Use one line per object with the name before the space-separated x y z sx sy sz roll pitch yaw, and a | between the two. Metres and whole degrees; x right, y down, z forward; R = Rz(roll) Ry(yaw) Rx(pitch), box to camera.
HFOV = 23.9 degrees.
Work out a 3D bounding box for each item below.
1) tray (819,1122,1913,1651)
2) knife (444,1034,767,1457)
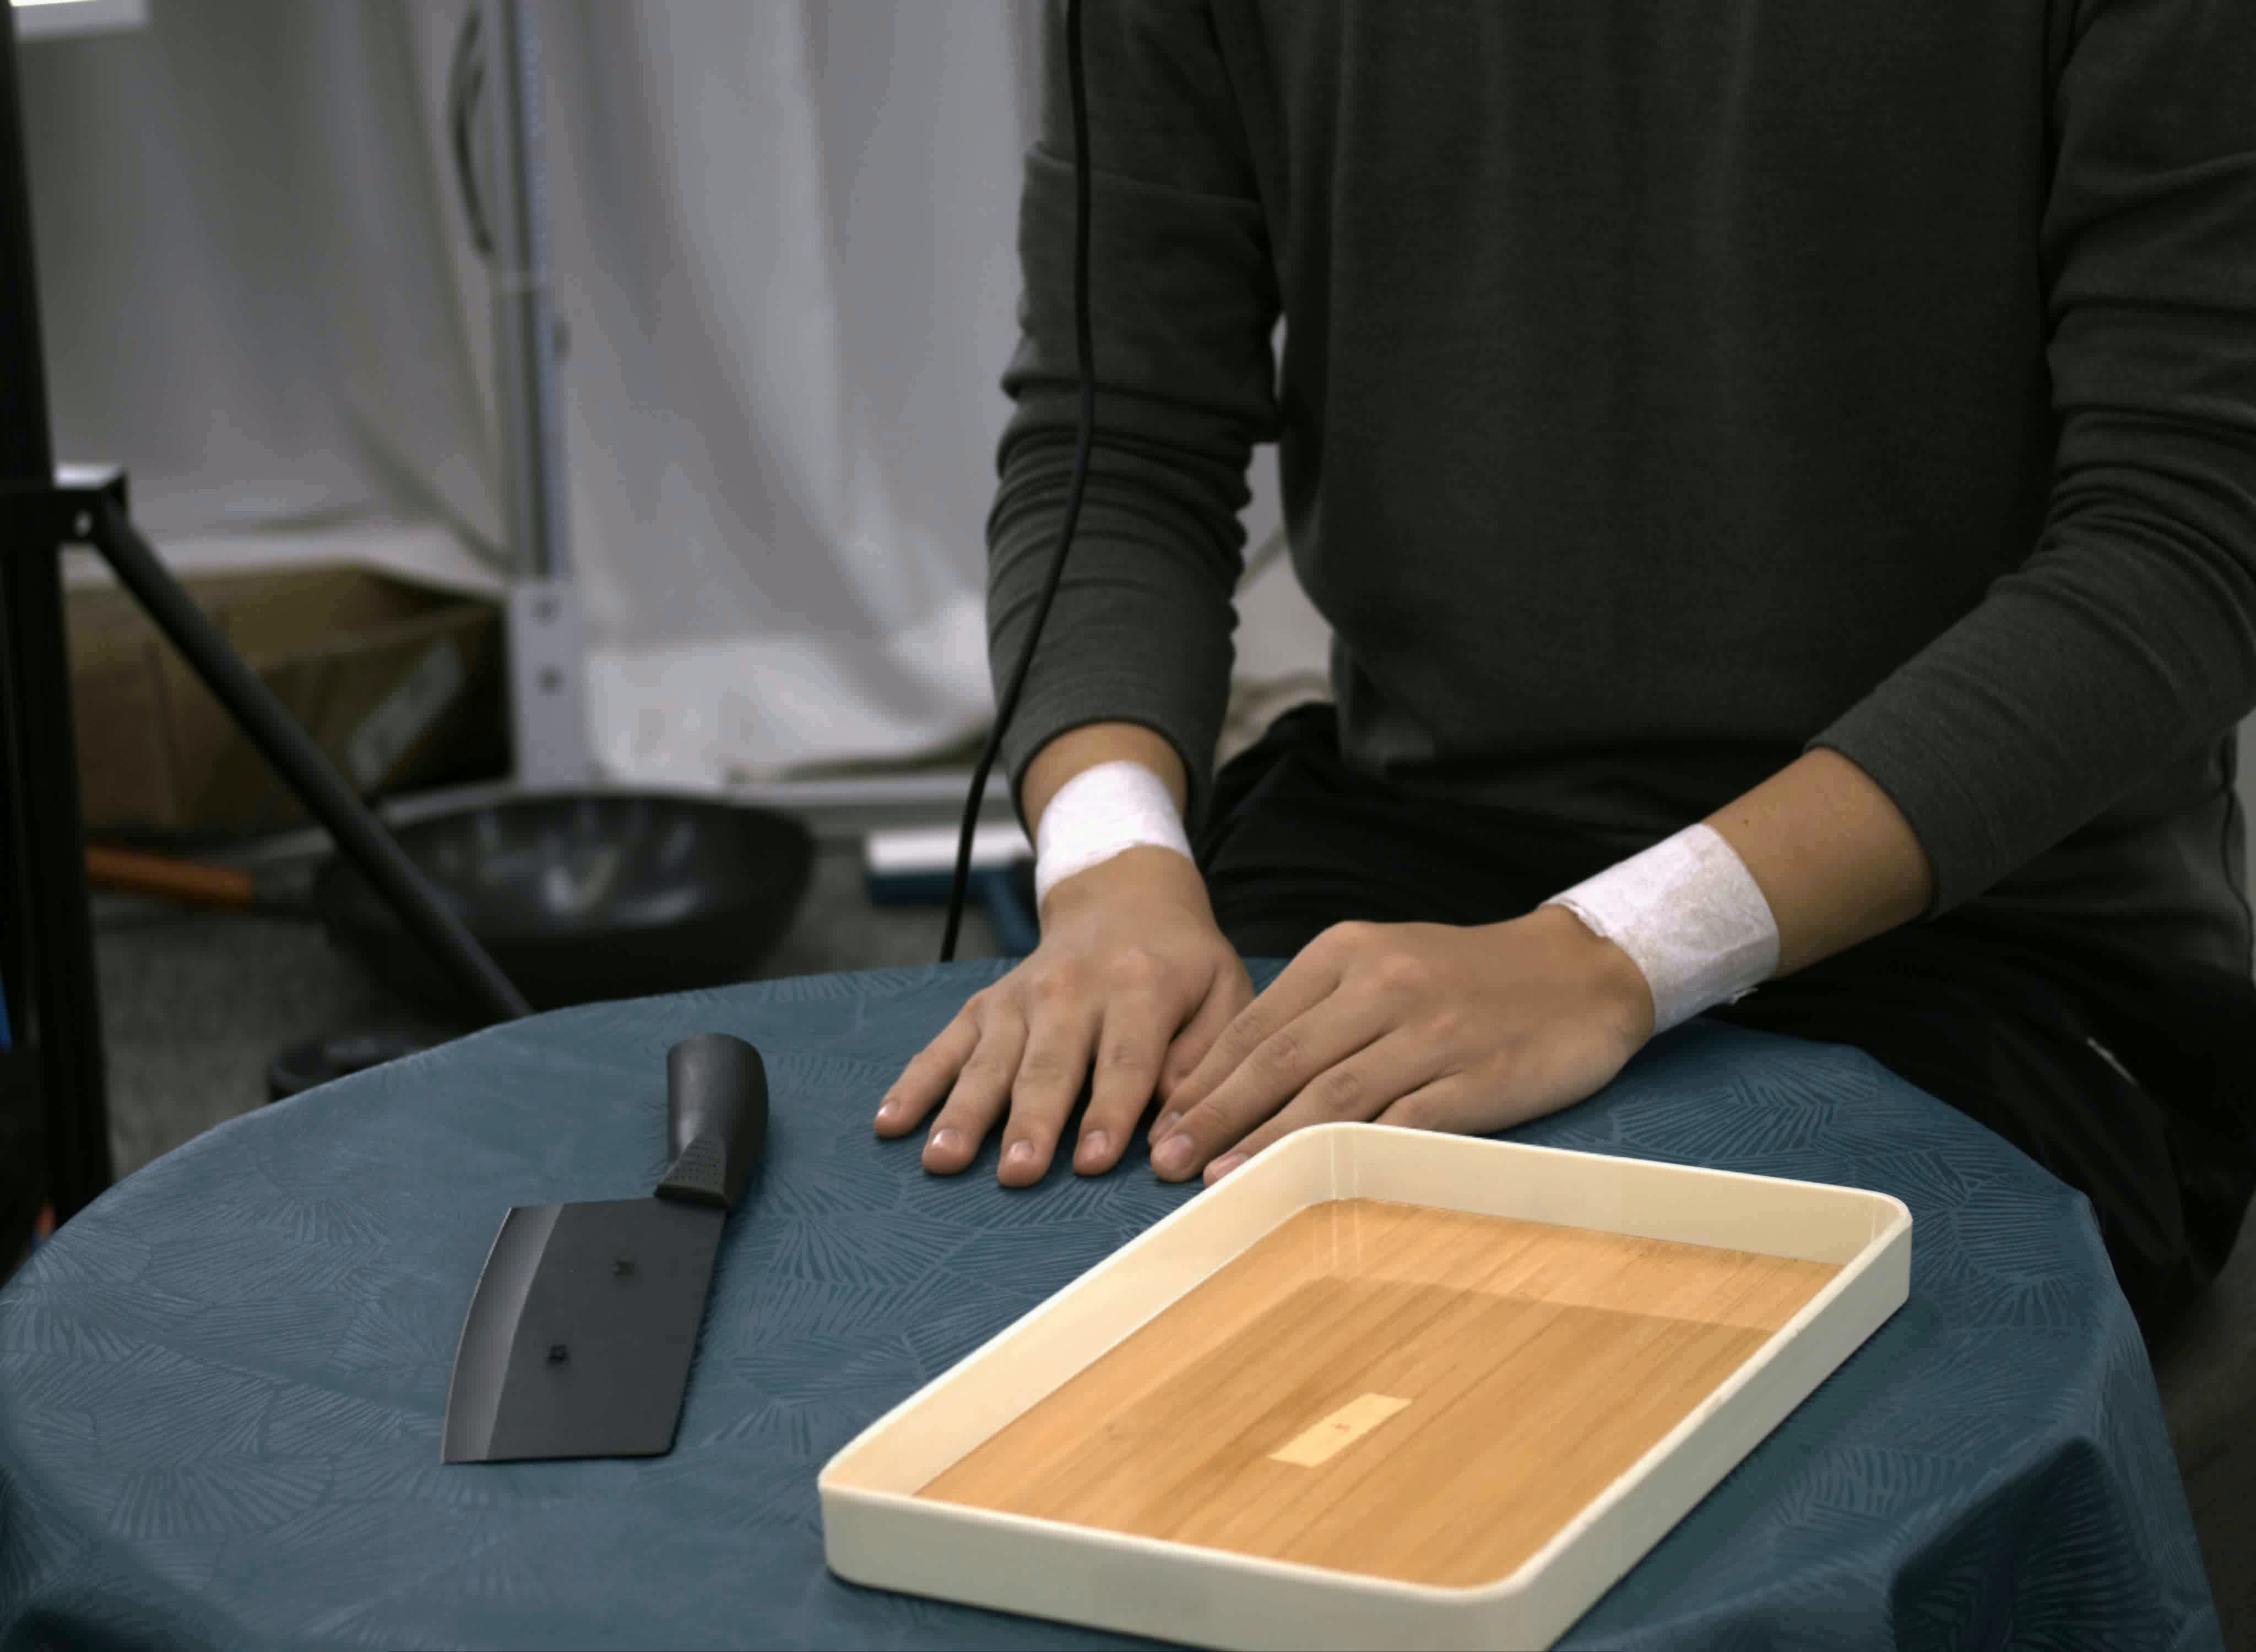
tray | 0.070 0.144 1.374 0.195 0.027 0.295 6 18 28
knife | -0.144 0.118 1.523 0.081 0.021 0.302 -2 17 6
